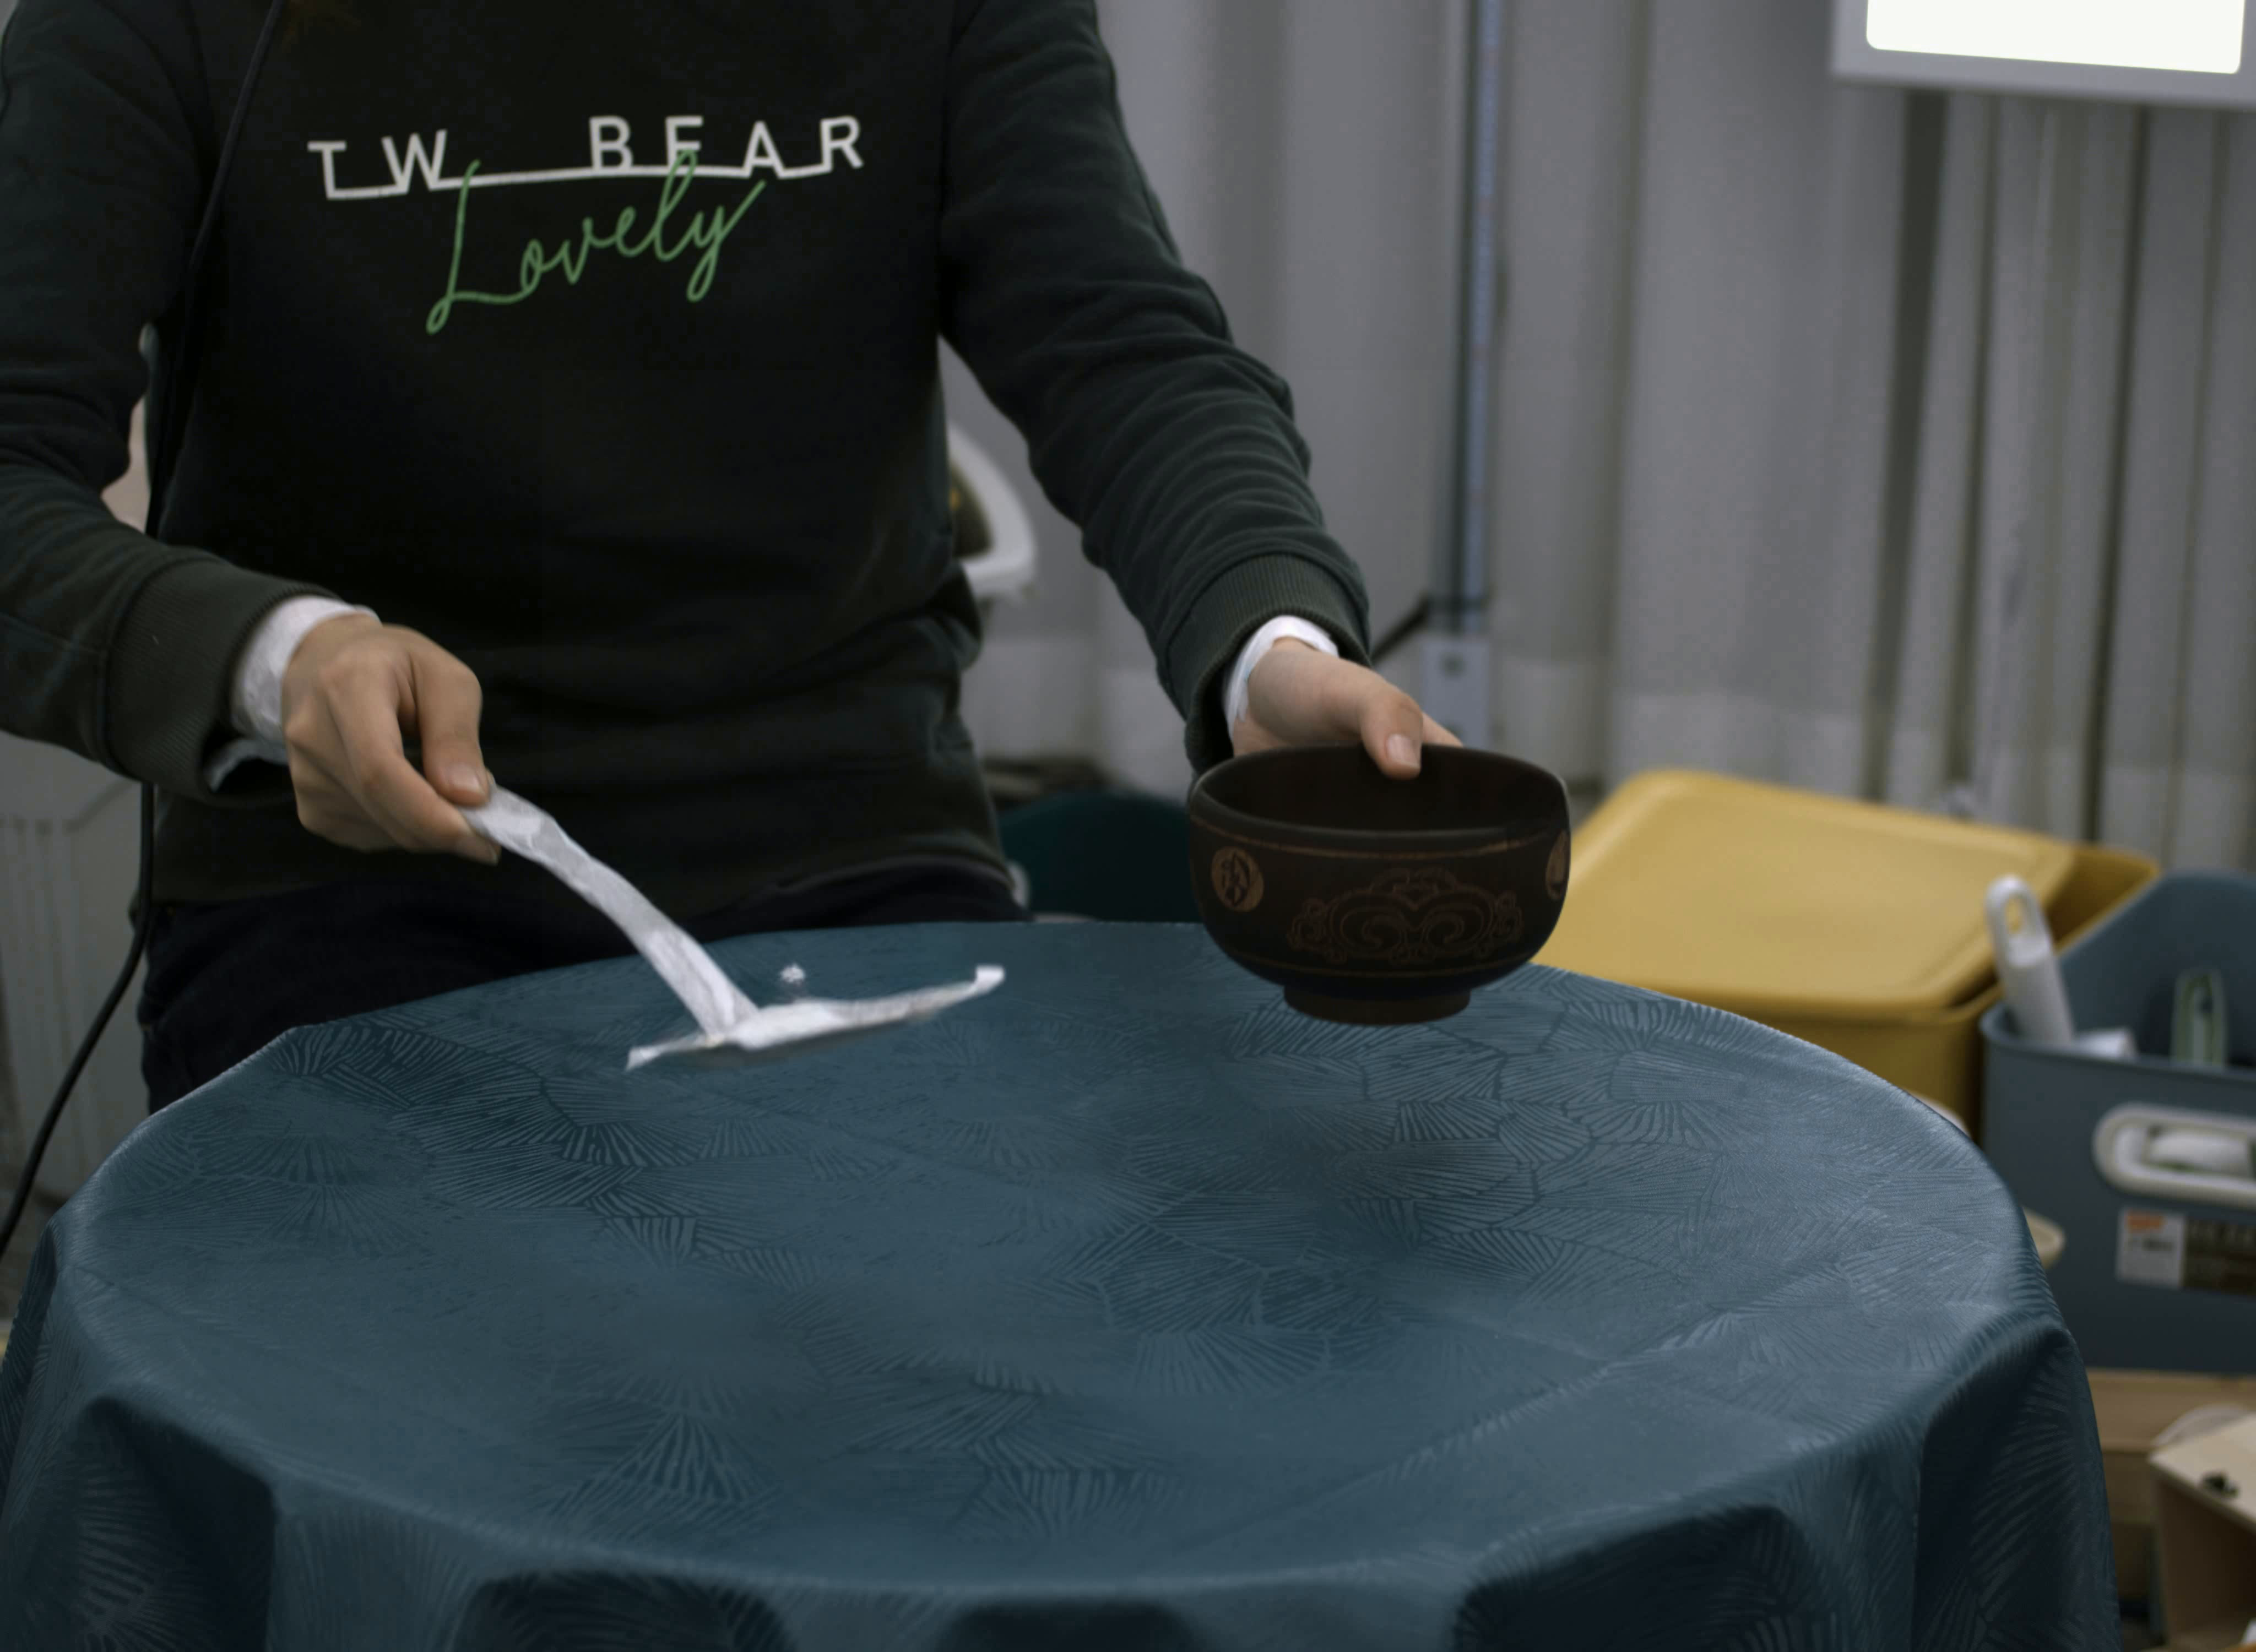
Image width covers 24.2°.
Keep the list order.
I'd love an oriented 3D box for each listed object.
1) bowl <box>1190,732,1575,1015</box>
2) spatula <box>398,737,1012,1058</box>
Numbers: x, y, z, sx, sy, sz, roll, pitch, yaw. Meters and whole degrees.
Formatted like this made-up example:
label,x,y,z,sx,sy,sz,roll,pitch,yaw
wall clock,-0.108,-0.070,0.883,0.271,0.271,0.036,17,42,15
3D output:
label,x,y,z,sx,sy,sz,roll,pitch,yaw
bowl,0.077,0.017,1.615,0.117,0.070,0.117,2,14,0
spatula,-0.150,0.011,1.553,0.099,0.045,0.360,-14,24,-26
